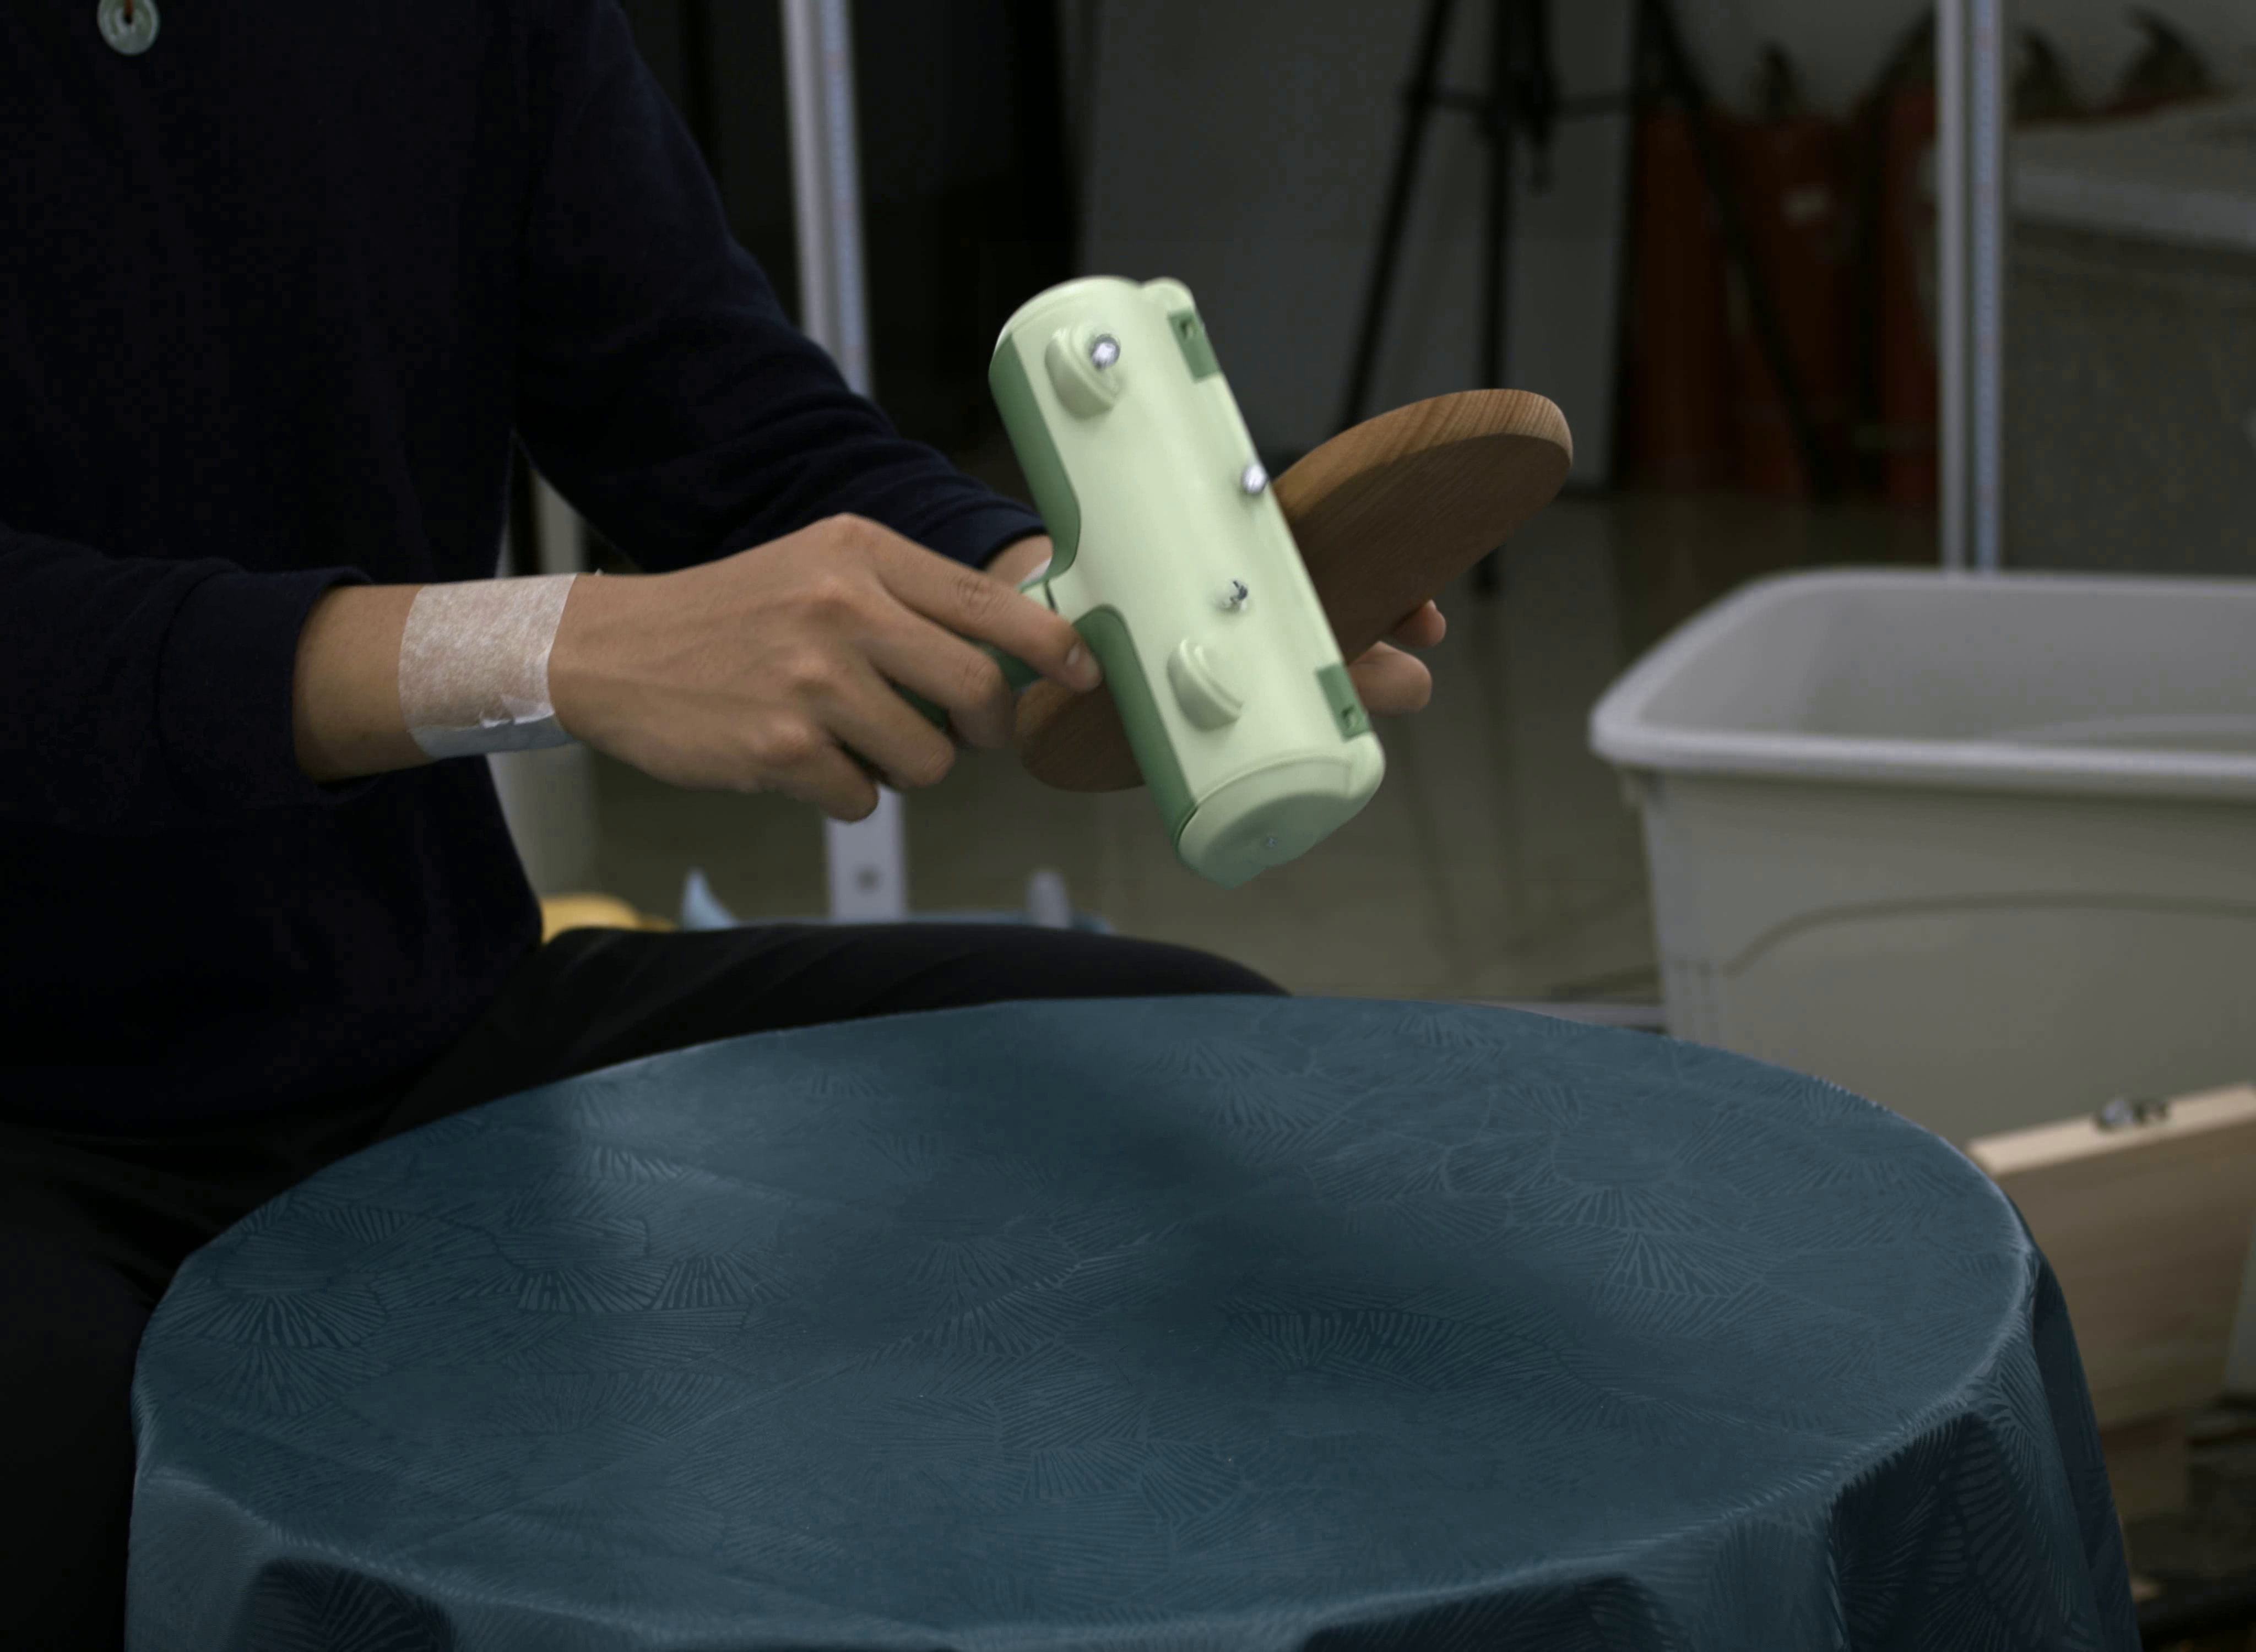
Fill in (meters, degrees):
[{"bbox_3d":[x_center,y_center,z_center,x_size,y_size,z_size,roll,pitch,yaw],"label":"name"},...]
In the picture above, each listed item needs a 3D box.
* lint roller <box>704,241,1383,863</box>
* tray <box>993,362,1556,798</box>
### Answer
[{"bbox_3d":[-0.041,-0.071,1.587,0.181,0.082,0.201,-18,60,-7],"label":"lint roller"},{"bbox_3d":[0.045,-0.072,1.673,0.099,0.020,0.233,4,-34,-40],"label":"tray"}]
